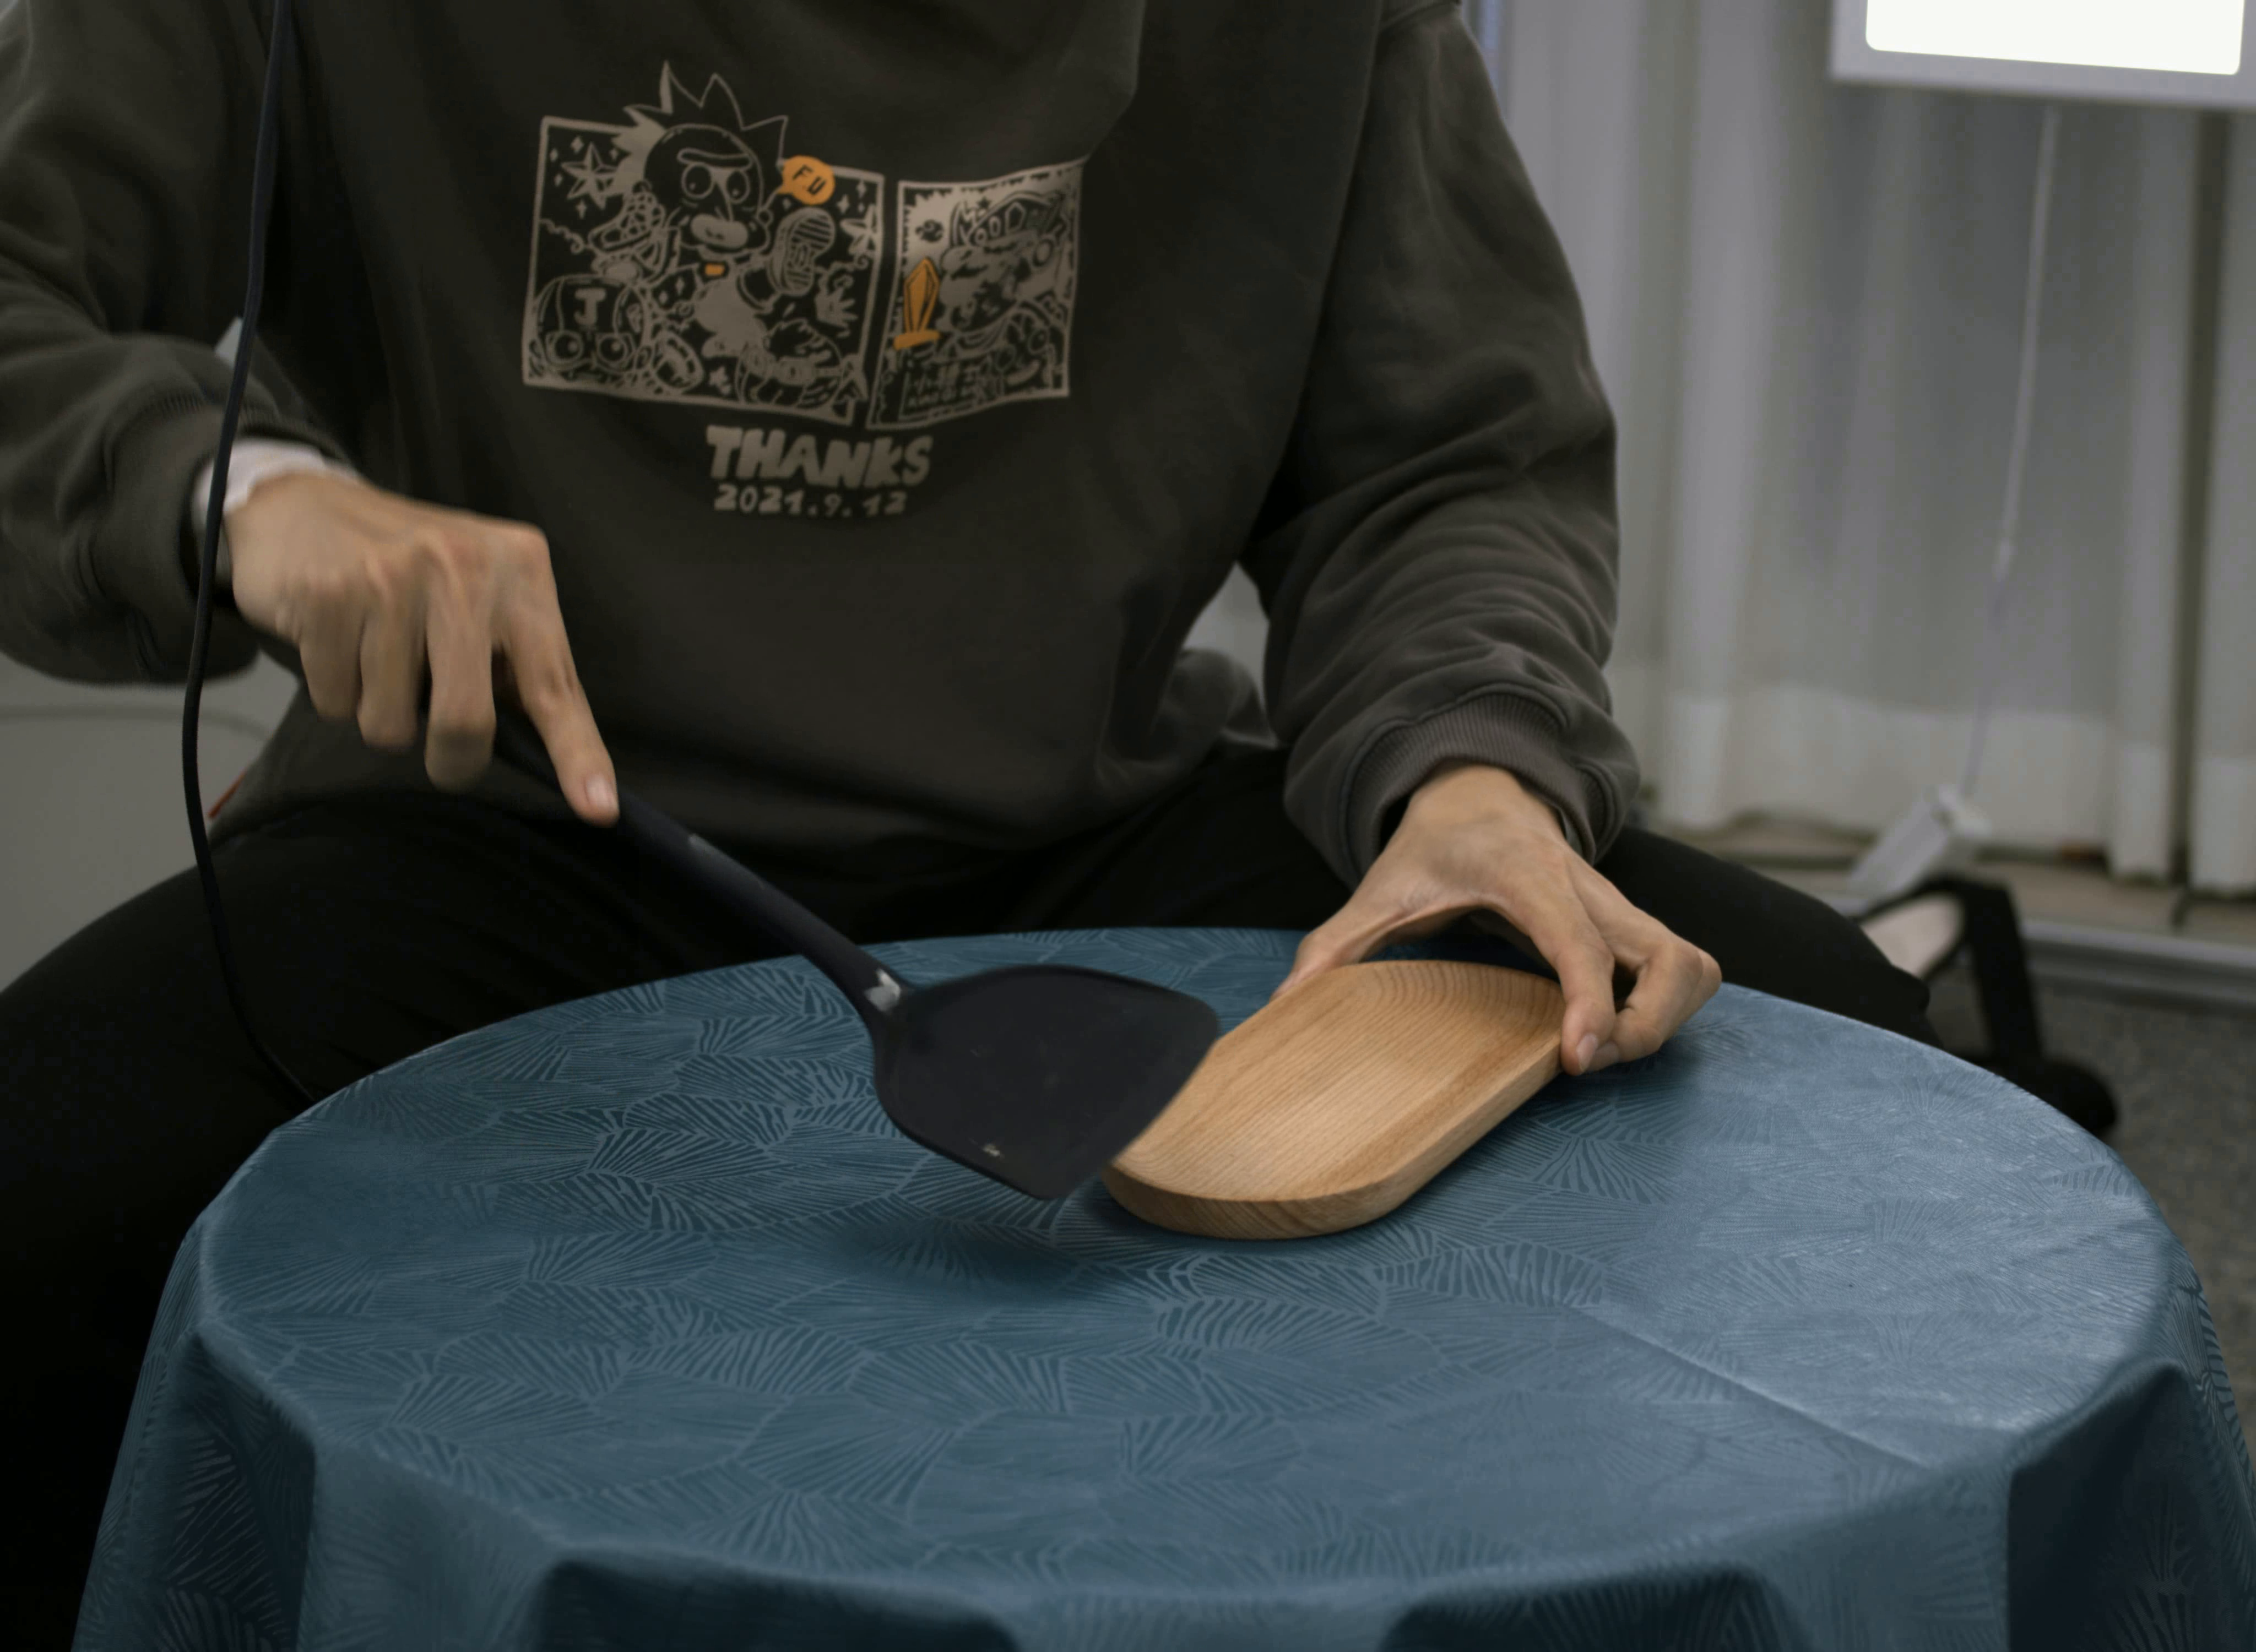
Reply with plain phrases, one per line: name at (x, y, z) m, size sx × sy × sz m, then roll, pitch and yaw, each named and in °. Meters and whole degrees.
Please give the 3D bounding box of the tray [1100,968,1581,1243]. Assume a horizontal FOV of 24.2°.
tray at (0.070, 0.087, 1.682) m, size 0.100 × 0.020 × 0.231 m, roll 8°, pitch 20°, yaw 25°

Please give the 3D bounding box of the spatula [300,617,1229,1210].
spatula at (-0.124, 0.014, 1.610) m, size 0.324 × 0.040 × 0.099 m, roll 33°, pitch 49°, yaw 12°
